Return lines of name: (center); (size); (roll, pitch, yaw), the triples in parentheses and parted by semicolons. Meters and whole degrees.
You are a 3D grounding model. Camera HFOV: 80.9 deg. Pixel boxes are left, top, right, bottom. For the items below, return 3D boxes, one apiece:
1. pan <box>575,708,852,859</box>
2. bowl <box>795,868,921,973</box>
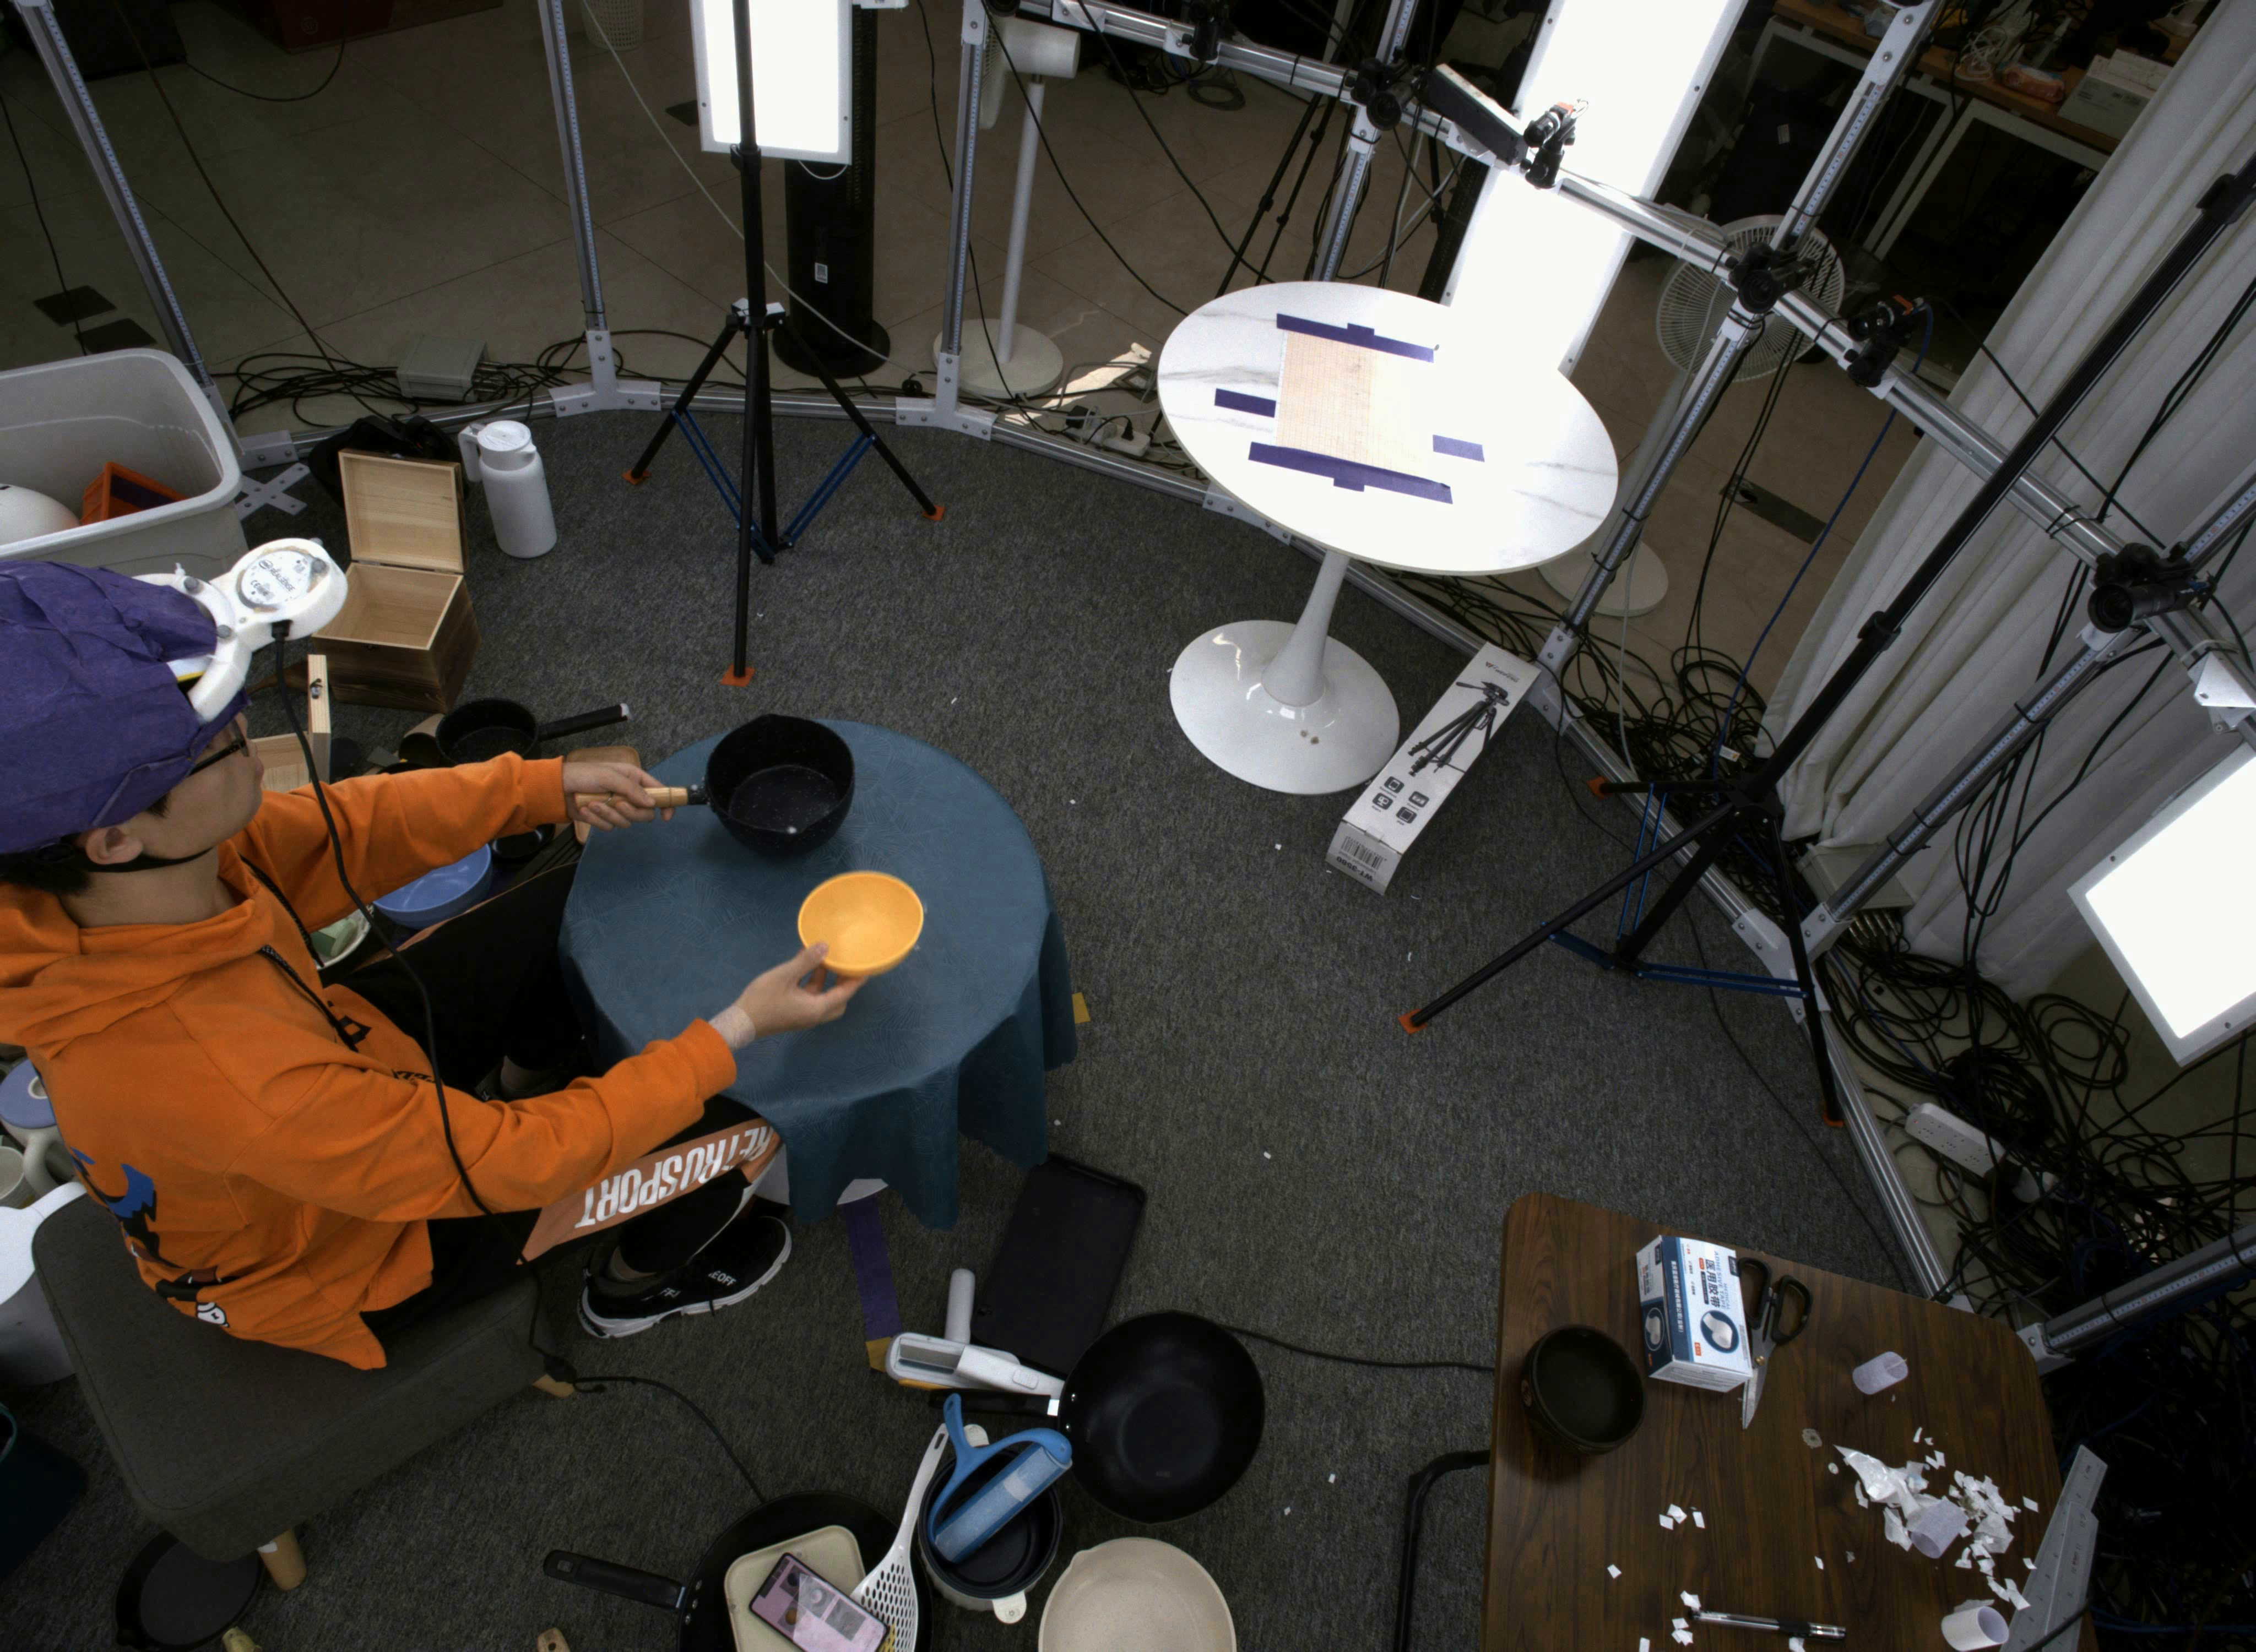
pan: (-0.515, -0.036, 1.608); (0.344, 0.110, 0.202); (-12, 59, -21)
bowl: (-0.309, 0.118, 1.505); (0.144, 0.062, 0.142); (4, 46, -3)
